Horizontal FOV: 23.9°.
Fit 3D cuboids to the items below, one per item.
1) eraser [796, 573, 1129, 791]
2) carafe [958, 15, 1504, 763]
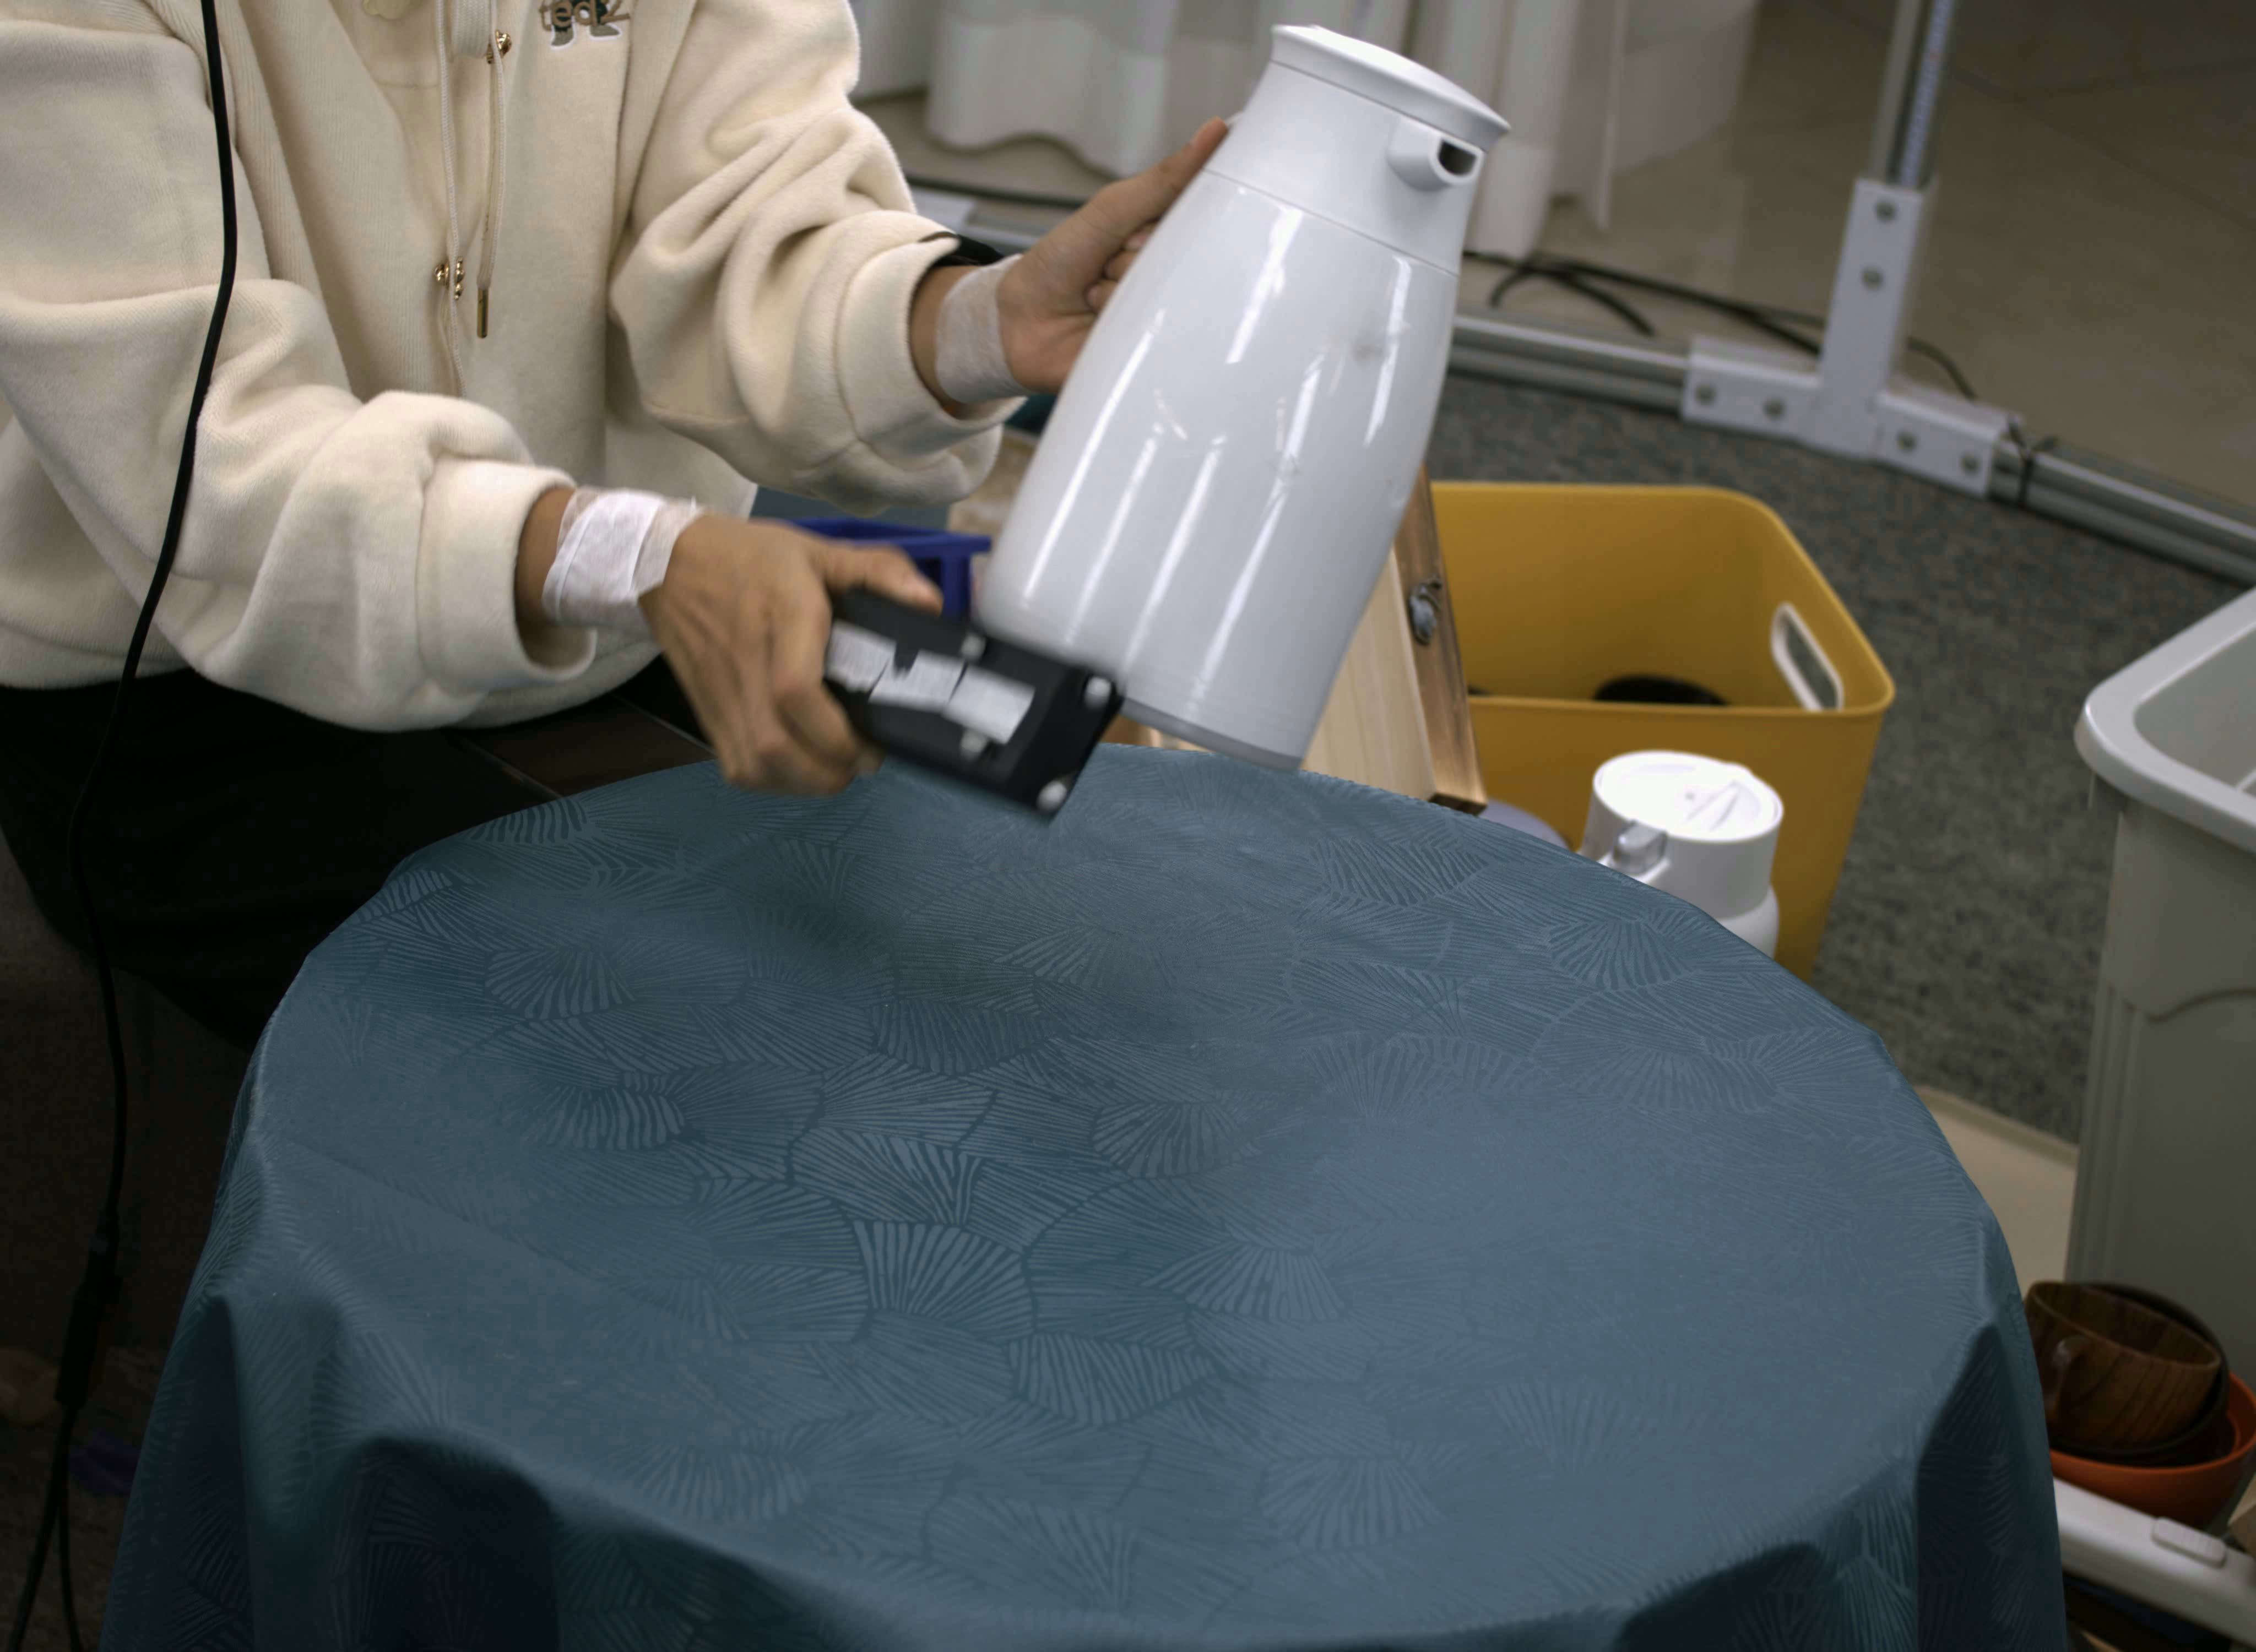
[{"bbox_3d":[-0.057,-0.050,1.815,0.126,0.053,0.030,16,-16,46],"label":"eraser"},{"bbox_3d":[0.036,-0.166,1.904,0.131,0.249,0.169,20,5,-32],"label":"carafe"}]
